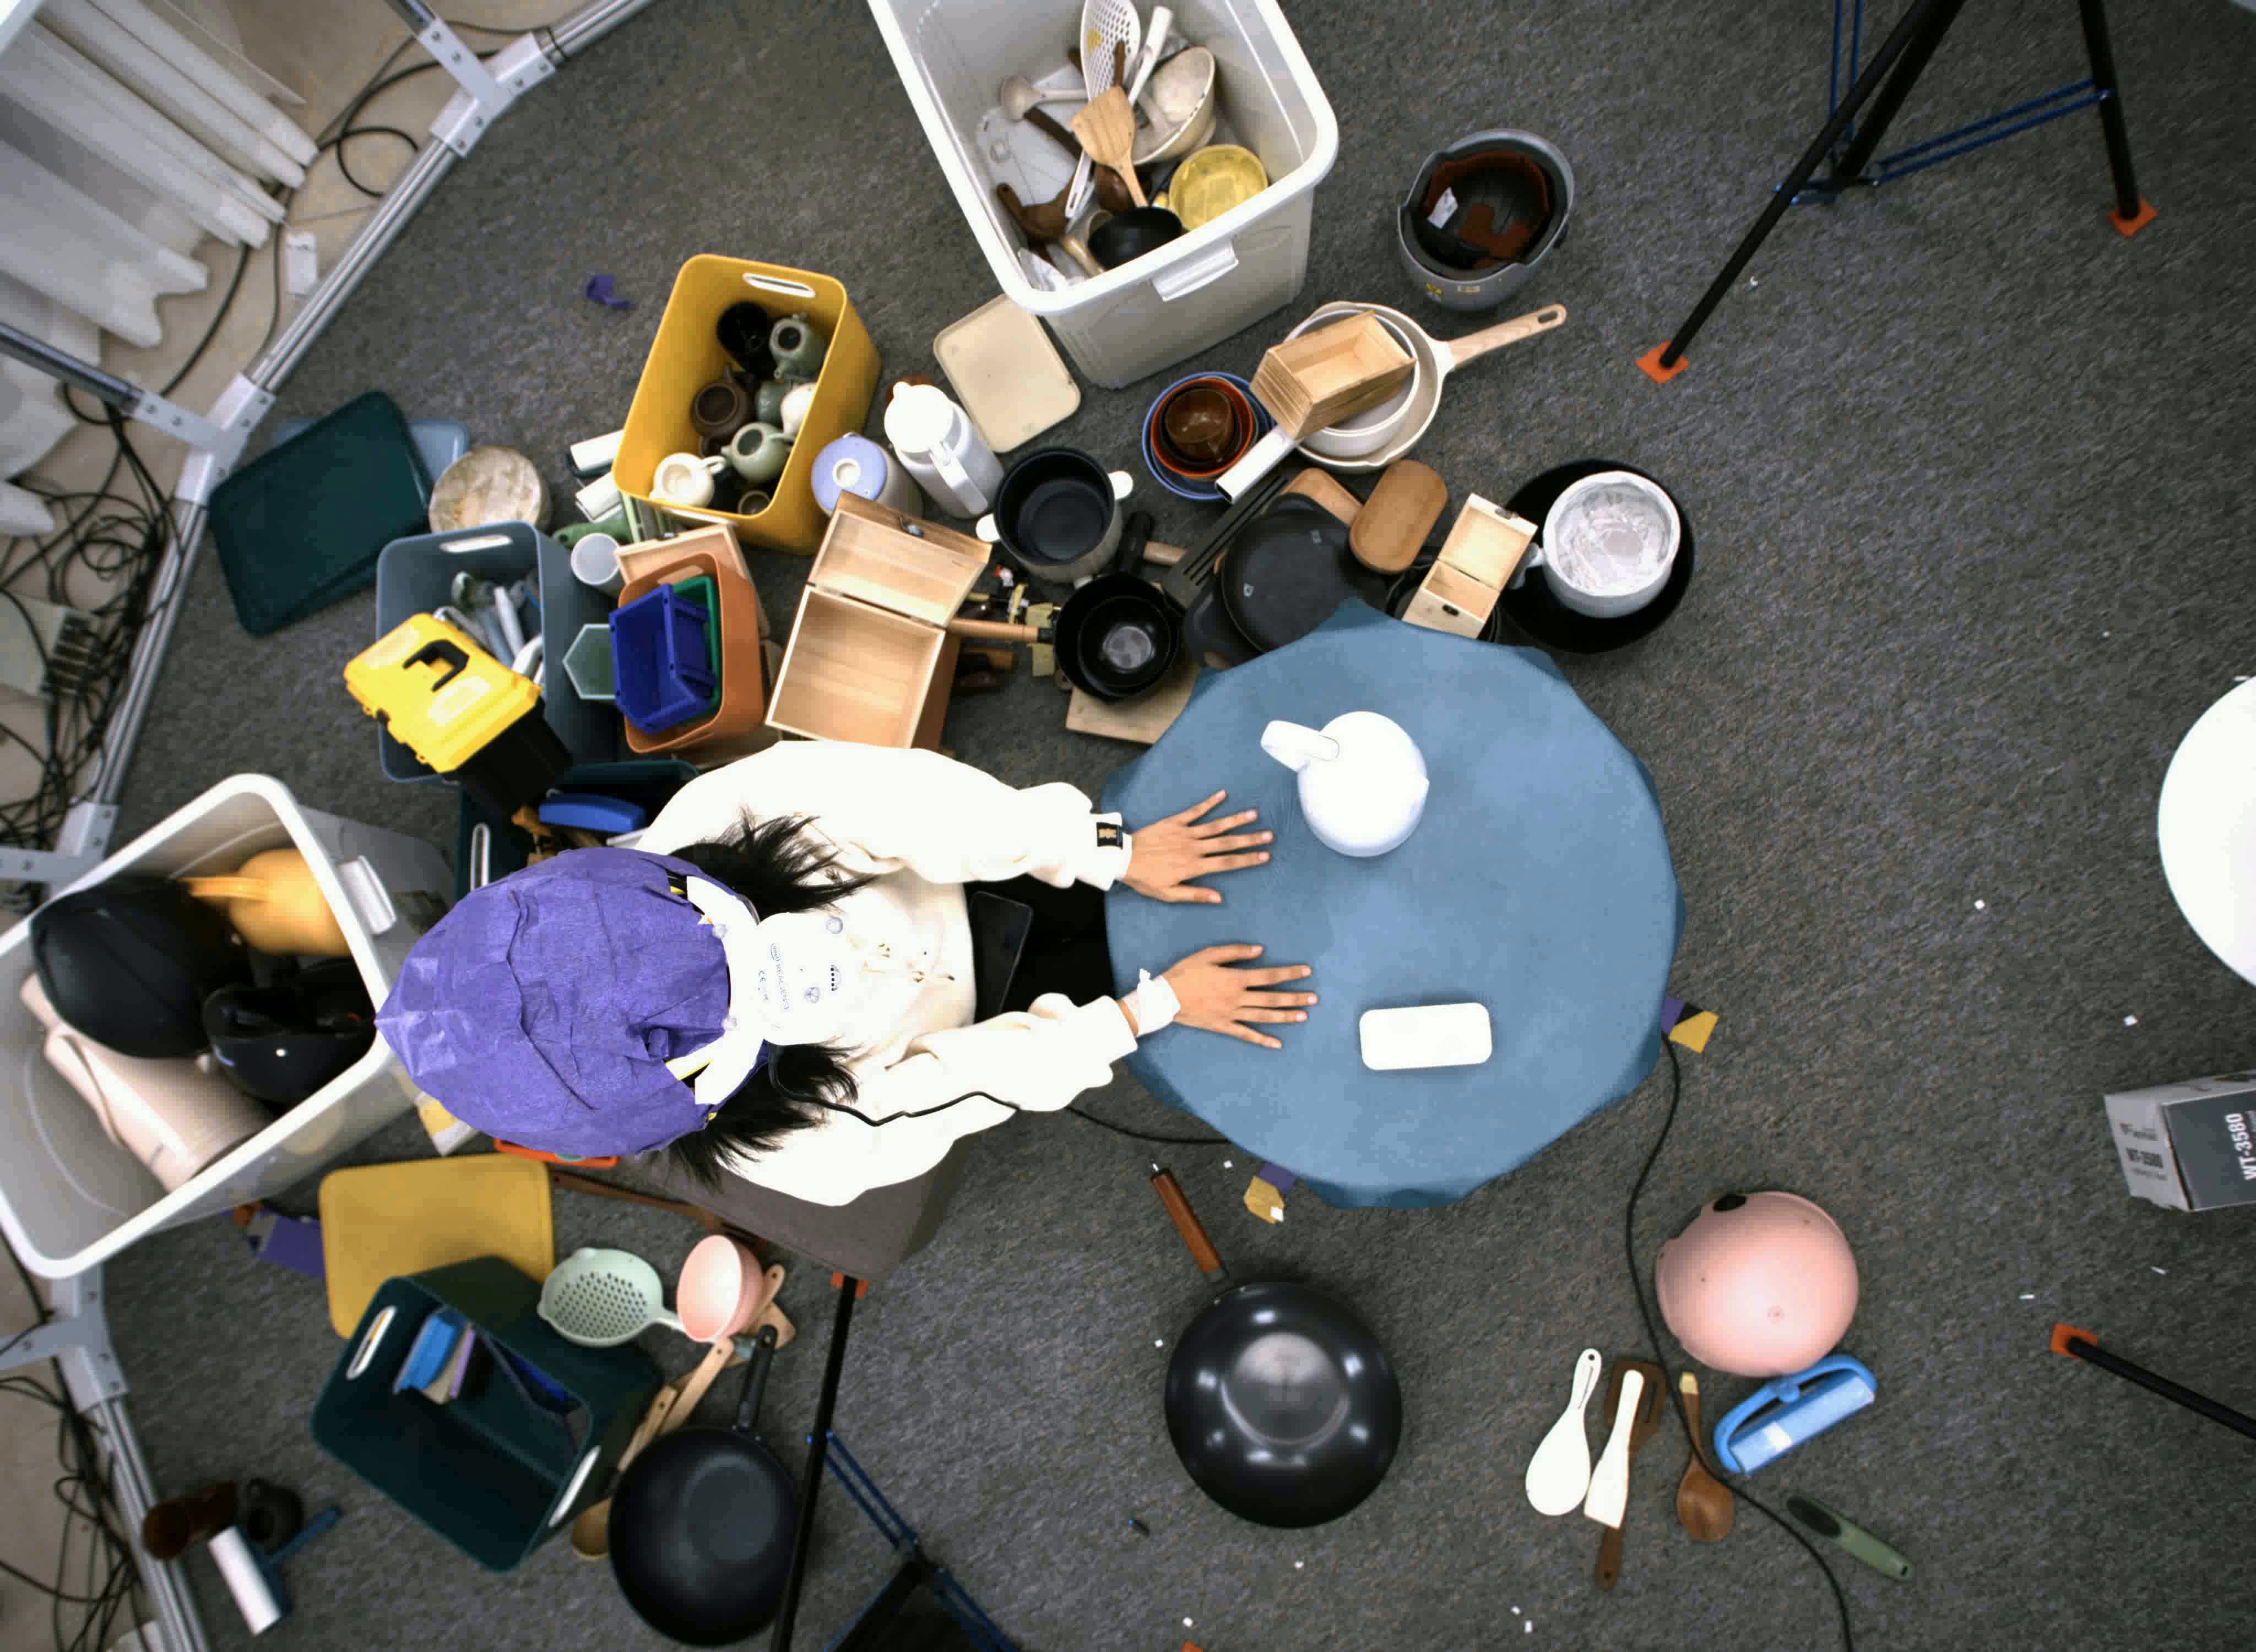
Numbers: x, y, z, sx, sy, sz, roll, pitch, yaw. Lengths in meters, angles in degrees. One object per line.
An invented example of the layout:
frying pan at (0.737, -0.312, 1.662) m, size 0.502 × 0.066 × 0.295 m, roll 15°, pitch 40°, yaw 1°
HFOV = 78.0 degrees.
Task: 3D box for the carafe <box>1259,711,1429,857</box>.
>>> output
carafe at (0.211, -0.053, 1.352) m, size 0.167 × 0.249 × 0.132 m, roll 23°, pitch 89°, yaw 12°

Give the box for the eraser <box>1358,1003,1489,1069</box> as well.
eraser at (0.305, 0.214, 1.430) m, size 0.132 × 0.034 × 0.063 m, roll -5°, pitch 82°, yaw 10°
